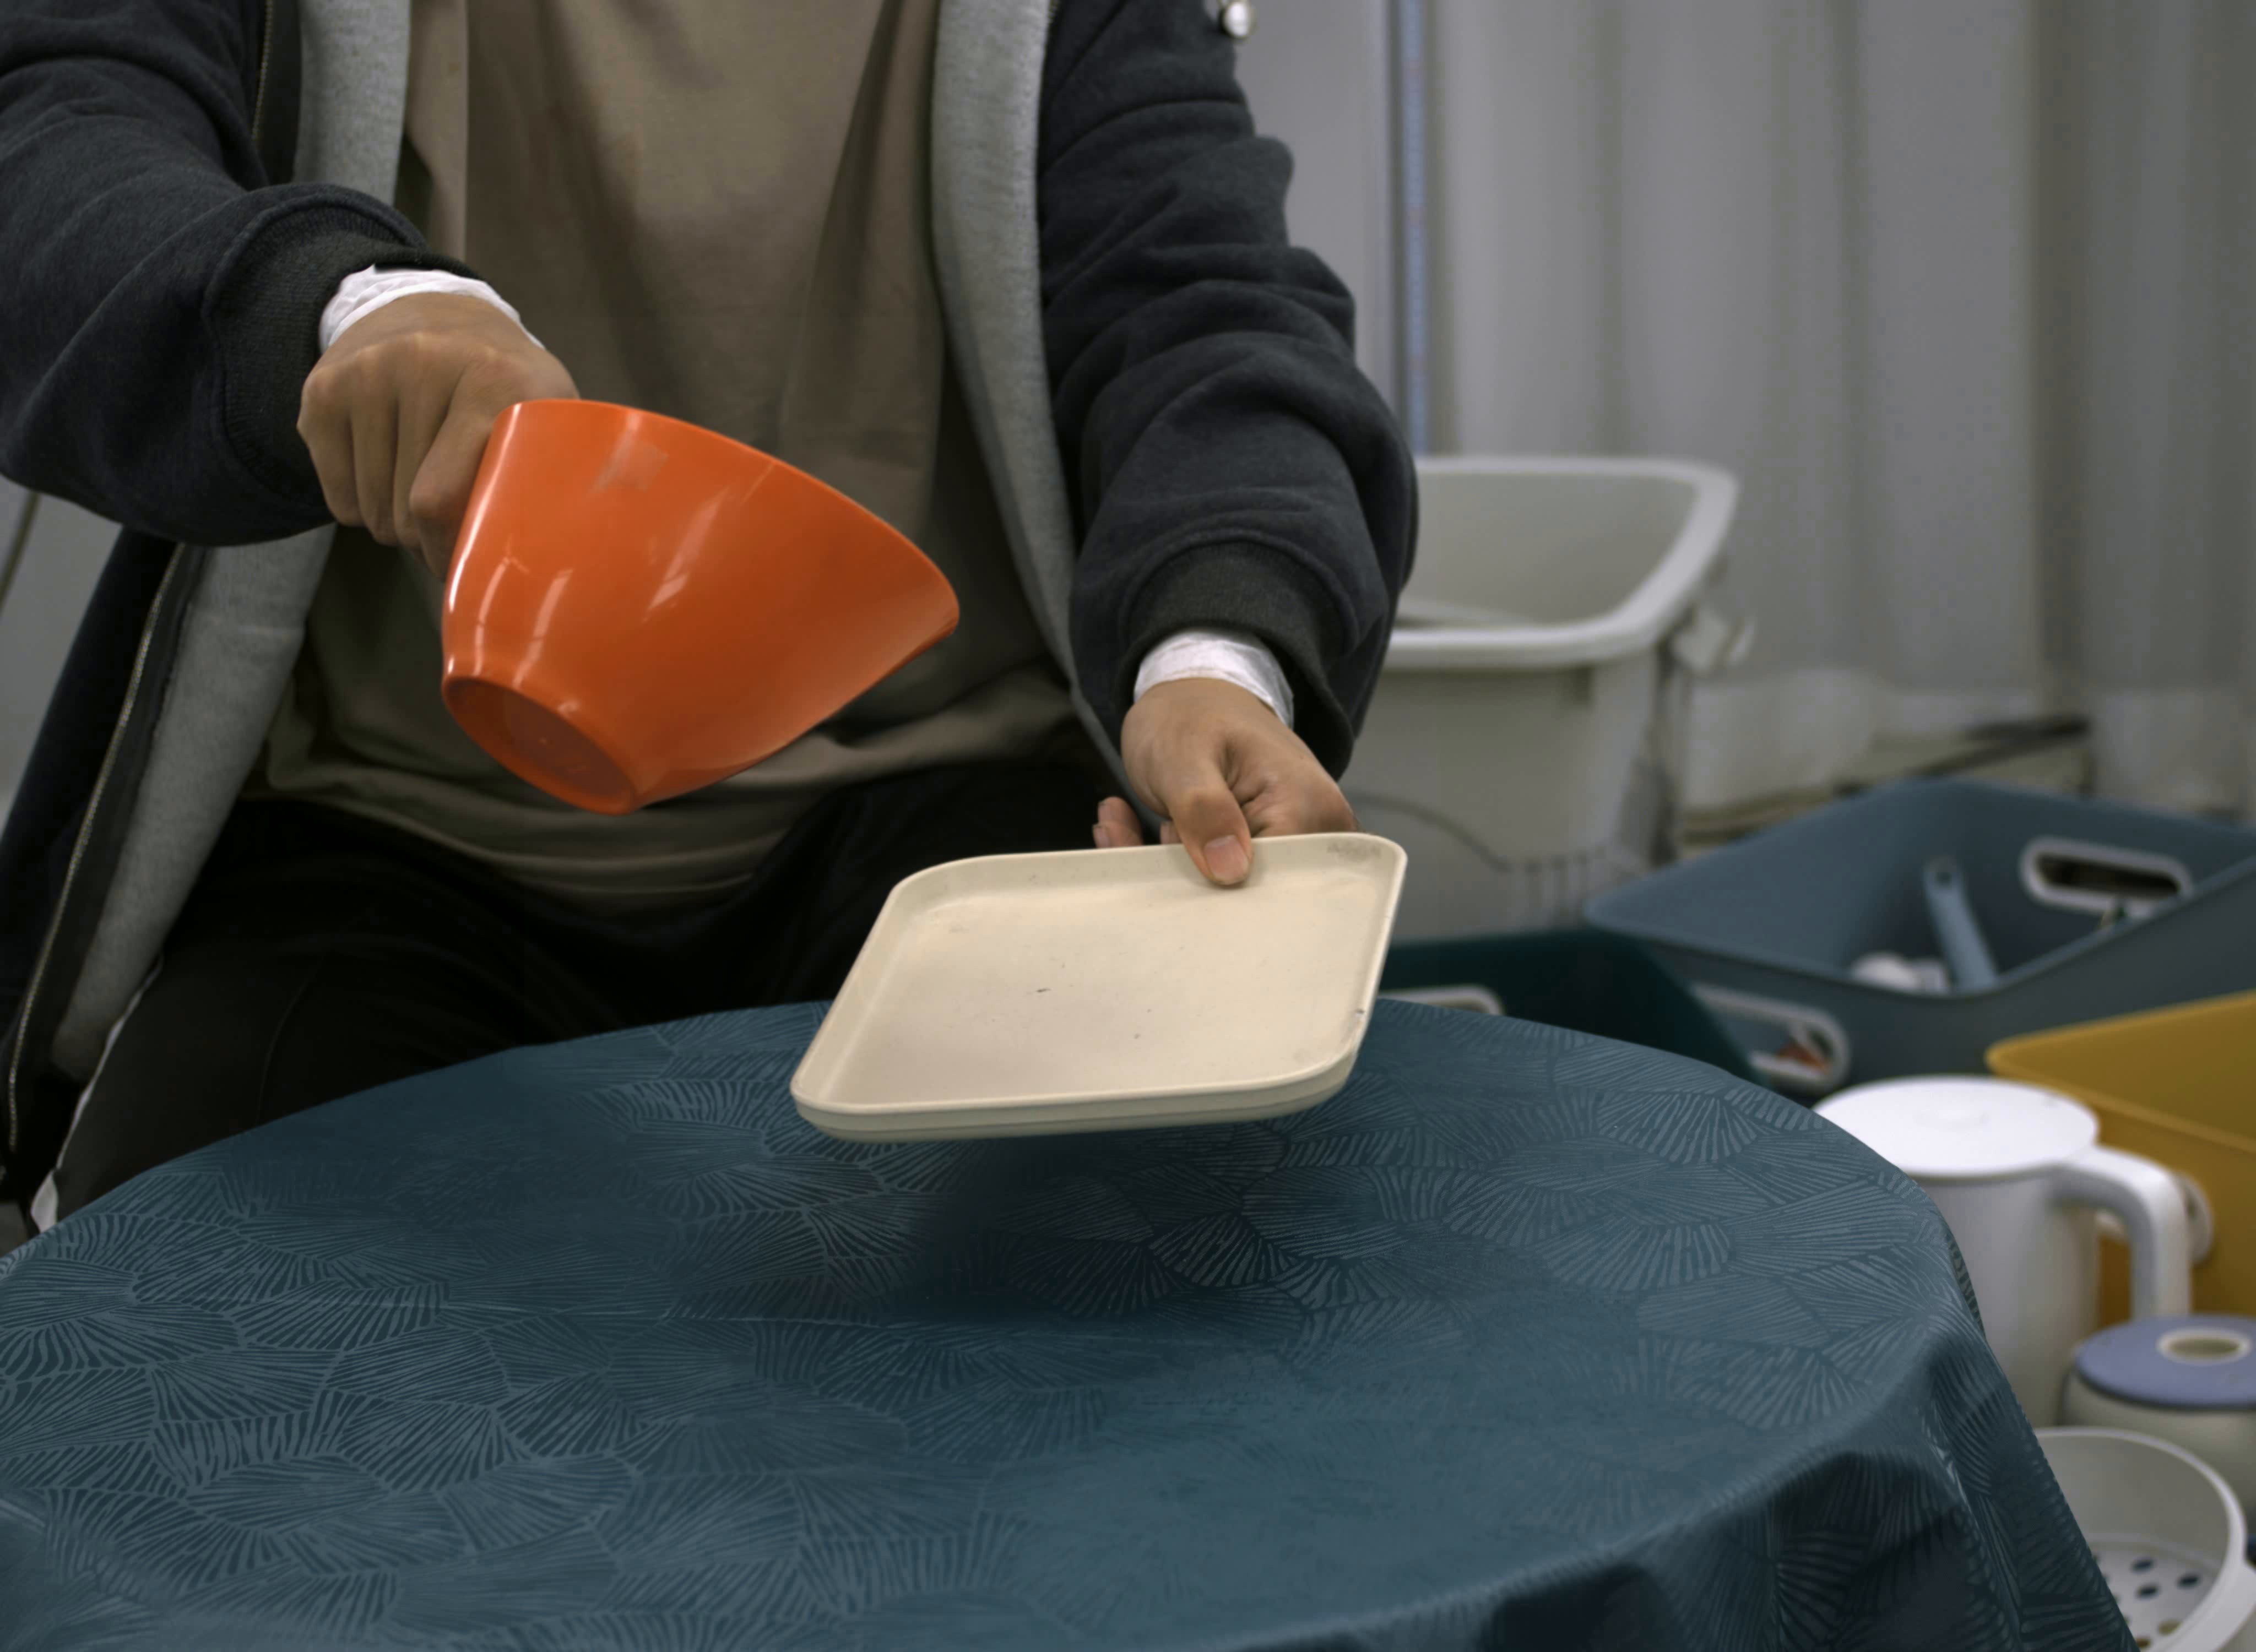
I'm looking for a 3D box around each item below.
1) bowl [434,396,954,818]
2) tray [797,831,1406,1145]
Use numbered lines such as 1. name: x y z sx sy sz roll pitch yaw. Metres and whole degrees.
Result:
1. bowl: -0.139 -0.056 1.611 0.149 0.146 0.105 12 61 44
2. tray: -0.003 0.049 1.683 0.171 0.017 0.241 -5 17 9
